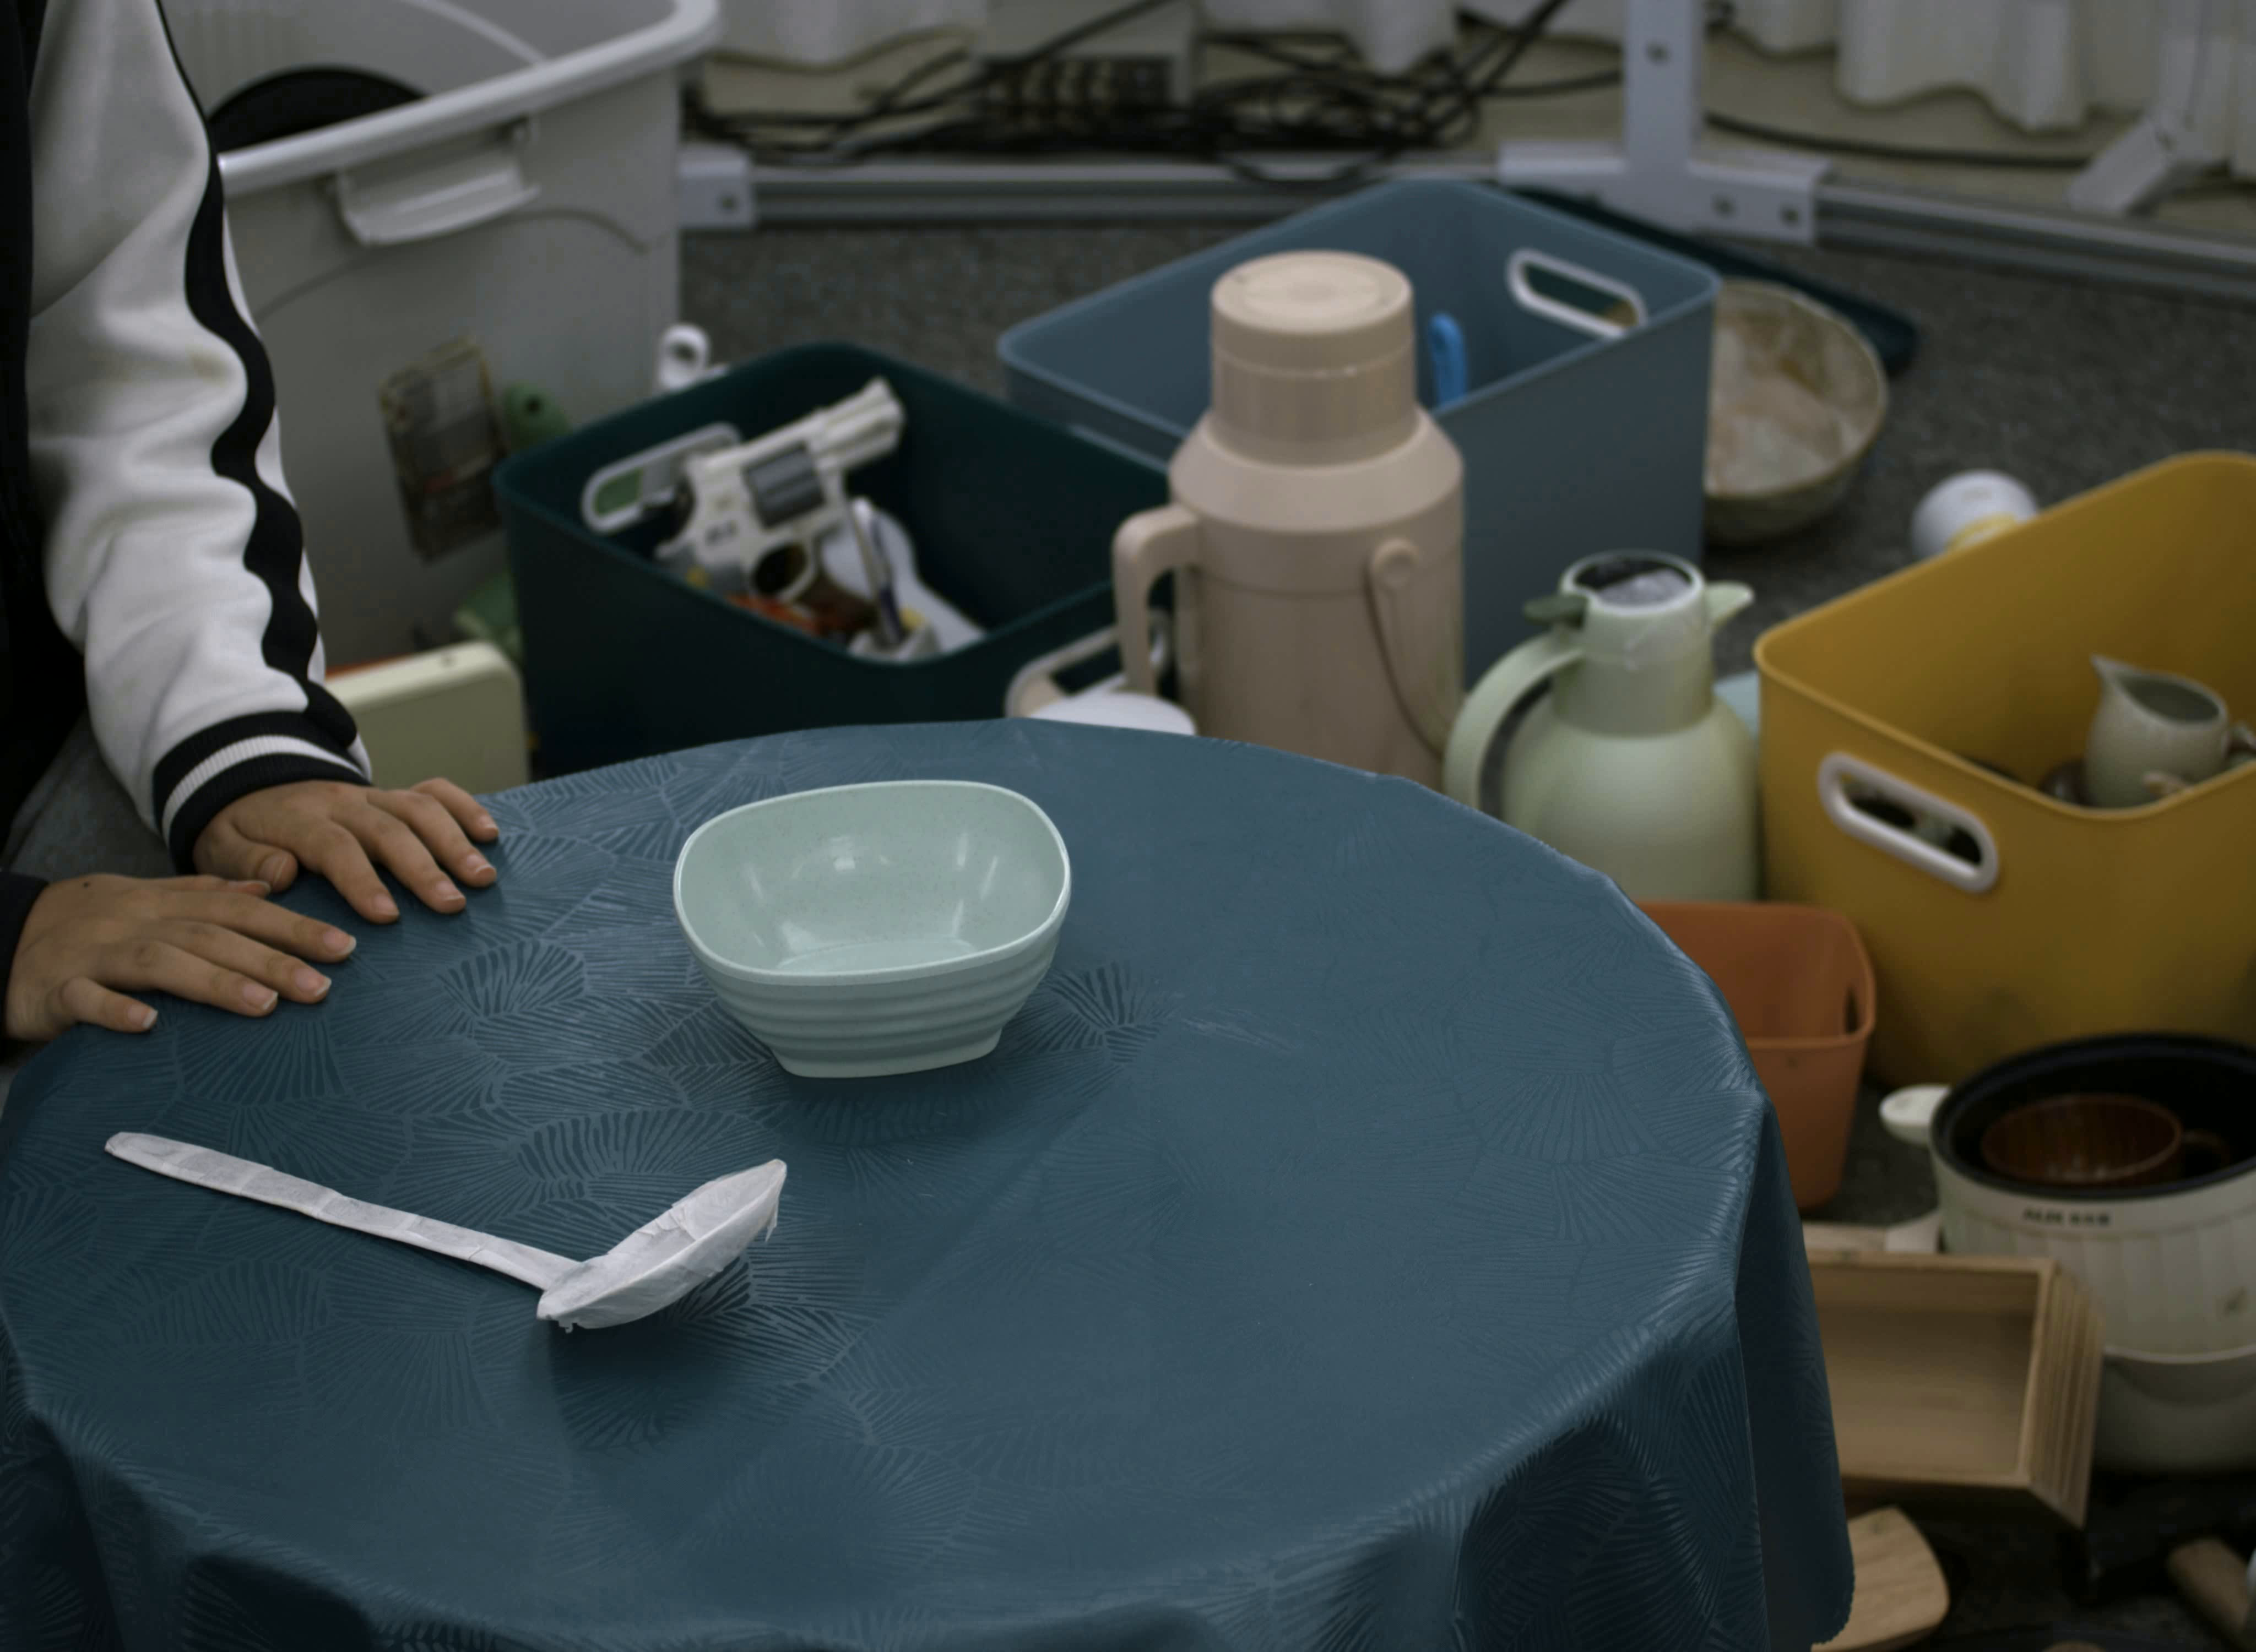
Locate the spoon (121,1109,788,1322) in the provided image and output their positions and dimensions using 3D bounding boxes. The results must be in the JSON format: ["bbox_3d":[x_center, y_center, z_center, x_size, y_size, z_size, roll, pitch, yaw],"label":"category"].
[{"bbox_3d":[-0.228,0.109,1.848,0.276,0.059,0.102,16,28,32],"label":"spoon"}]

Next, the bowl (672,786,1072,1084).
[{"bbox_3d":[-0.088,0.044,1.963,0.151,0.058,0.154,-2,27,1],"label":"bowl"}]
